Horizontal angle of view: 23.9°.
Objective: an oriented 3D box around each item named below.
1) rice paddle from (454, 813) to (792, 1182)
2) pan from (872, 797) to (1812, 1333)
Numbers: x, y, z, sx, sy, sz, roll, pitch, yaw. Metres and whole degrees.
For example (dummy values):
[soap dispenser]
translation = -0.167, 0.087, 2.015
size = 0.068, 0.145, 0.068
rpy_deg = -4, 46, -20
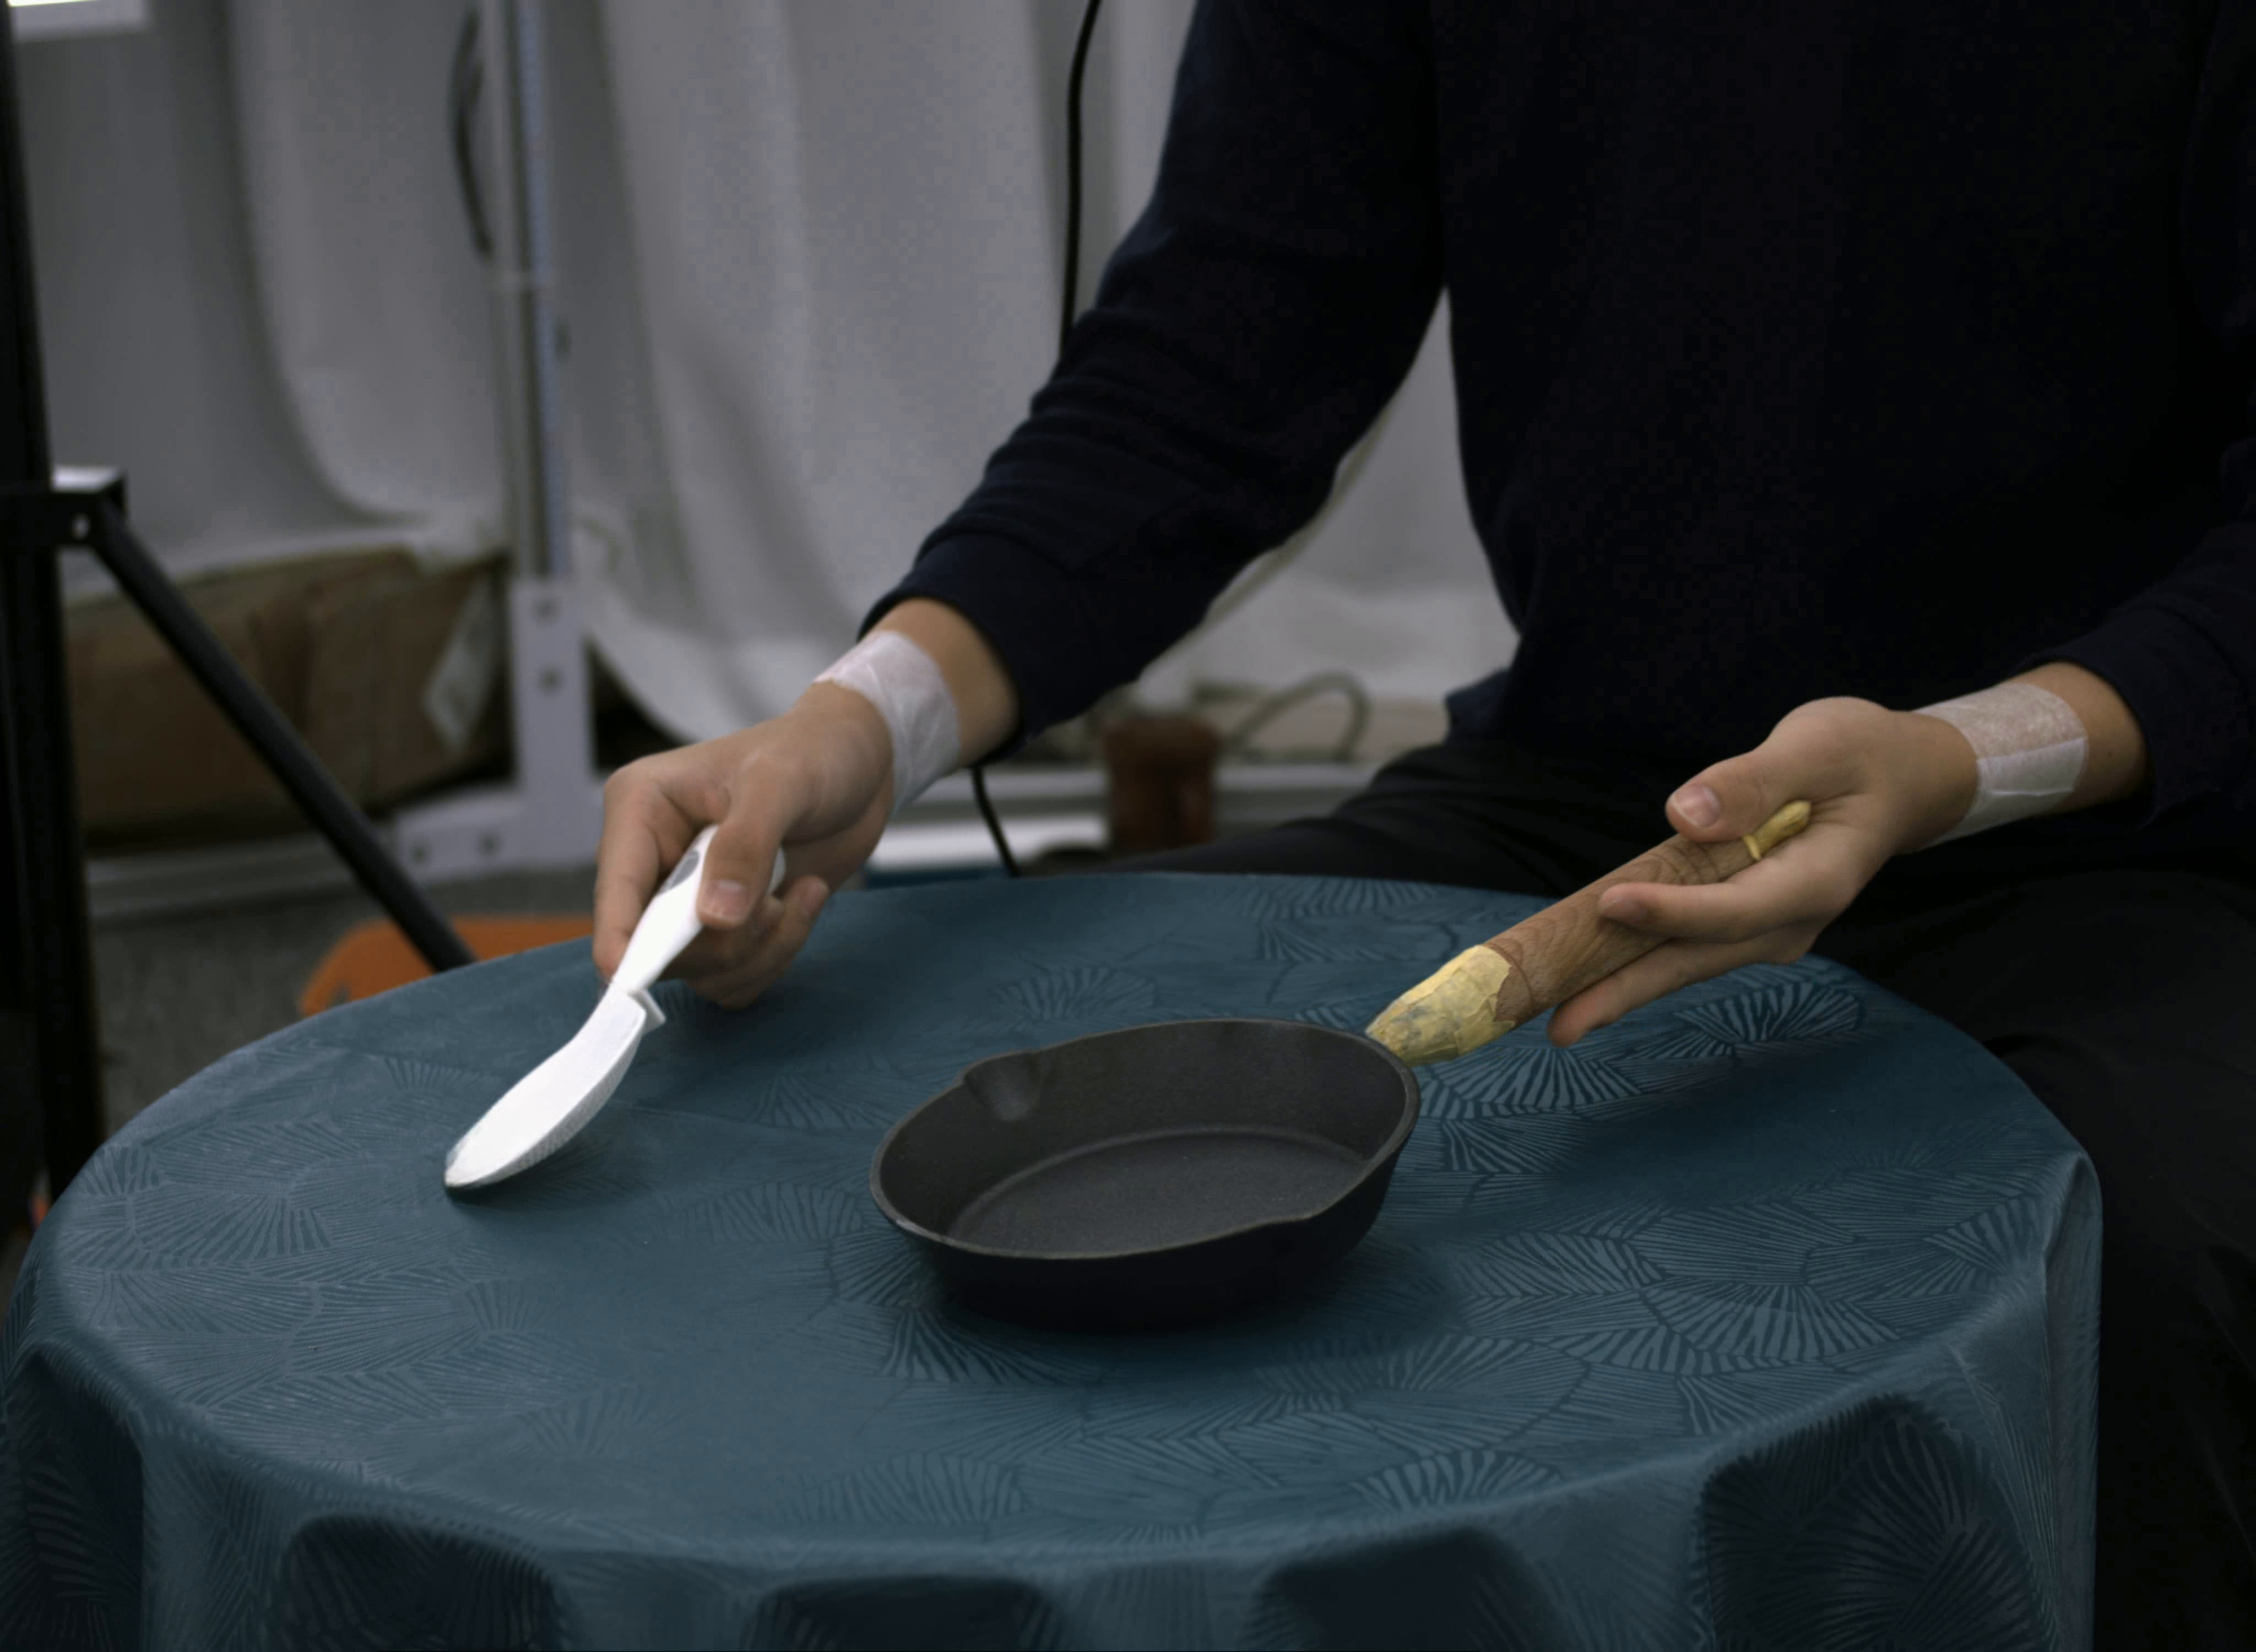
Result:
[rice paddle]
translation = -0.155, 0.053, 1.651
size = 0.069, 0.029, 0.204
rpy_deg = -32, 12, 31
[pan]
translation = 0.076, 0.066, 1.527
size = 0.318, 0.049, 0.172
rpy_deg = -22, 24, -25
